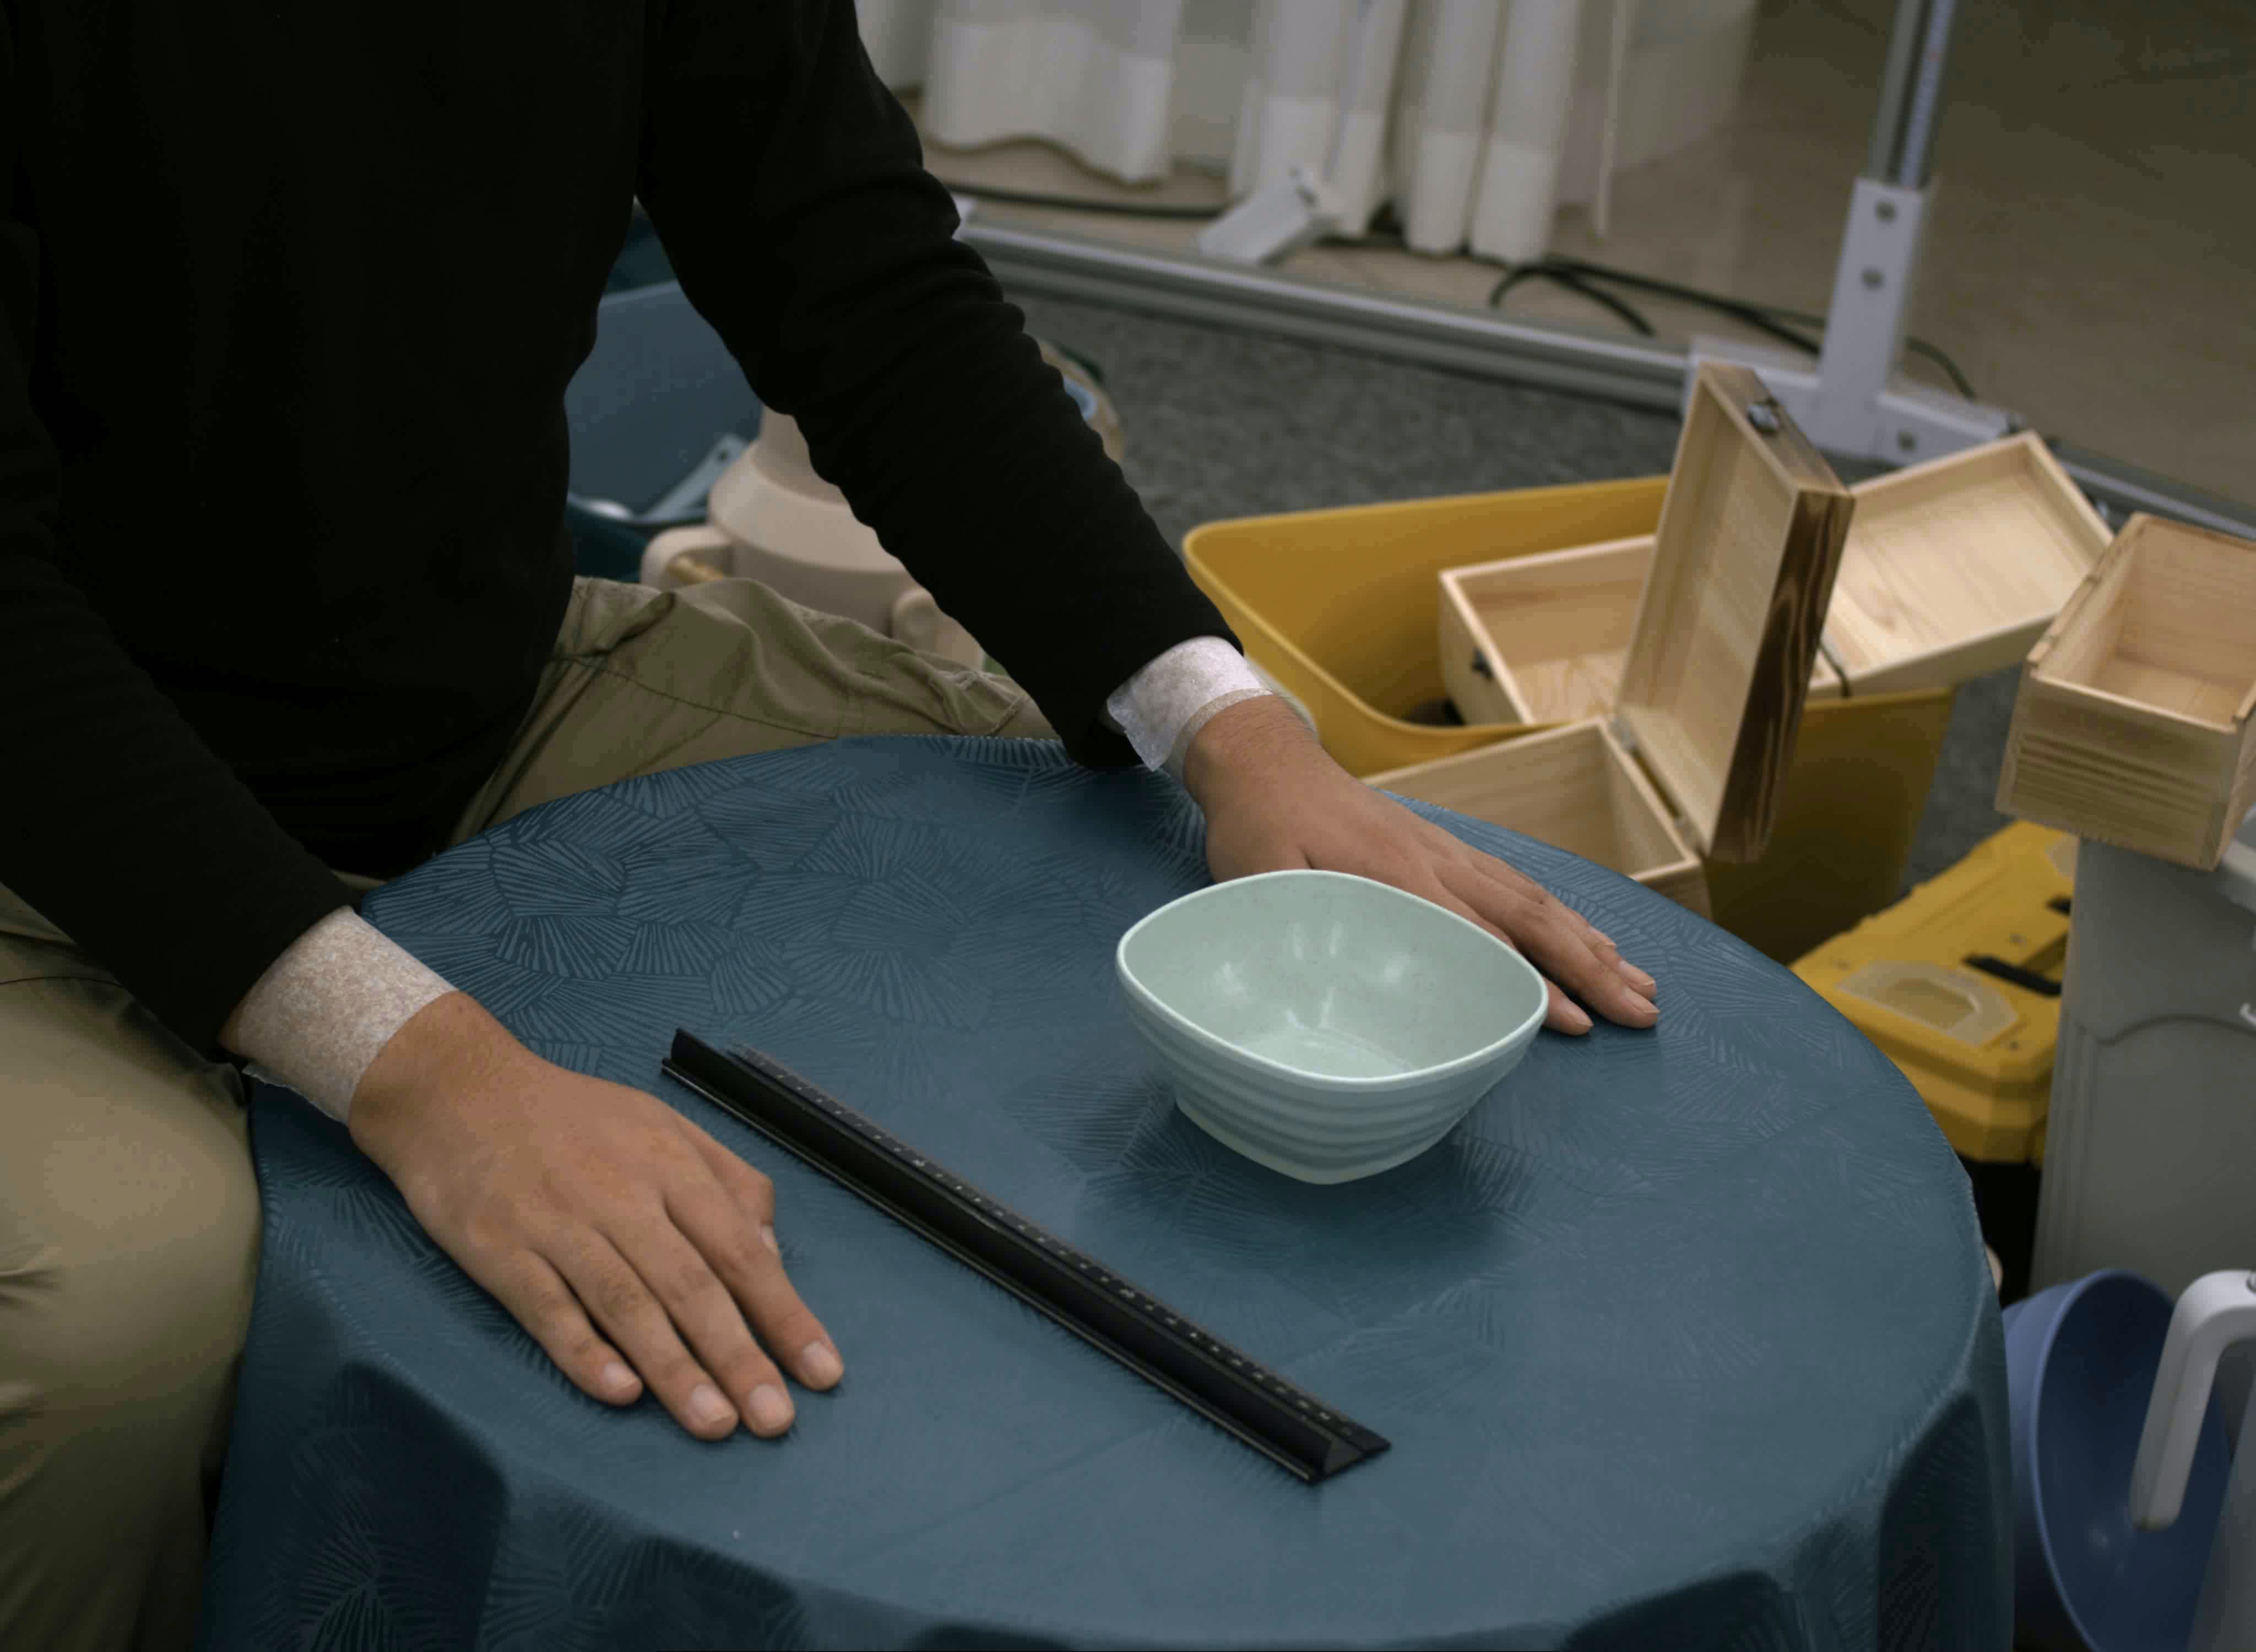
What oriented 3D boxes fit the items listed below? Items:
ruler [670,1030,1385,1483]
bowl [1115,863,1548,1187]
[{"bbox_3d":[-0.037,0.134,1.756,0.039,0.017,0.315,-15,34,-43],"label":"ruler"},{"bbox_3d":[0.067,0.075,1.850,0.151,0.058,0.152,6,29,-4],"label":"bowl"}]
